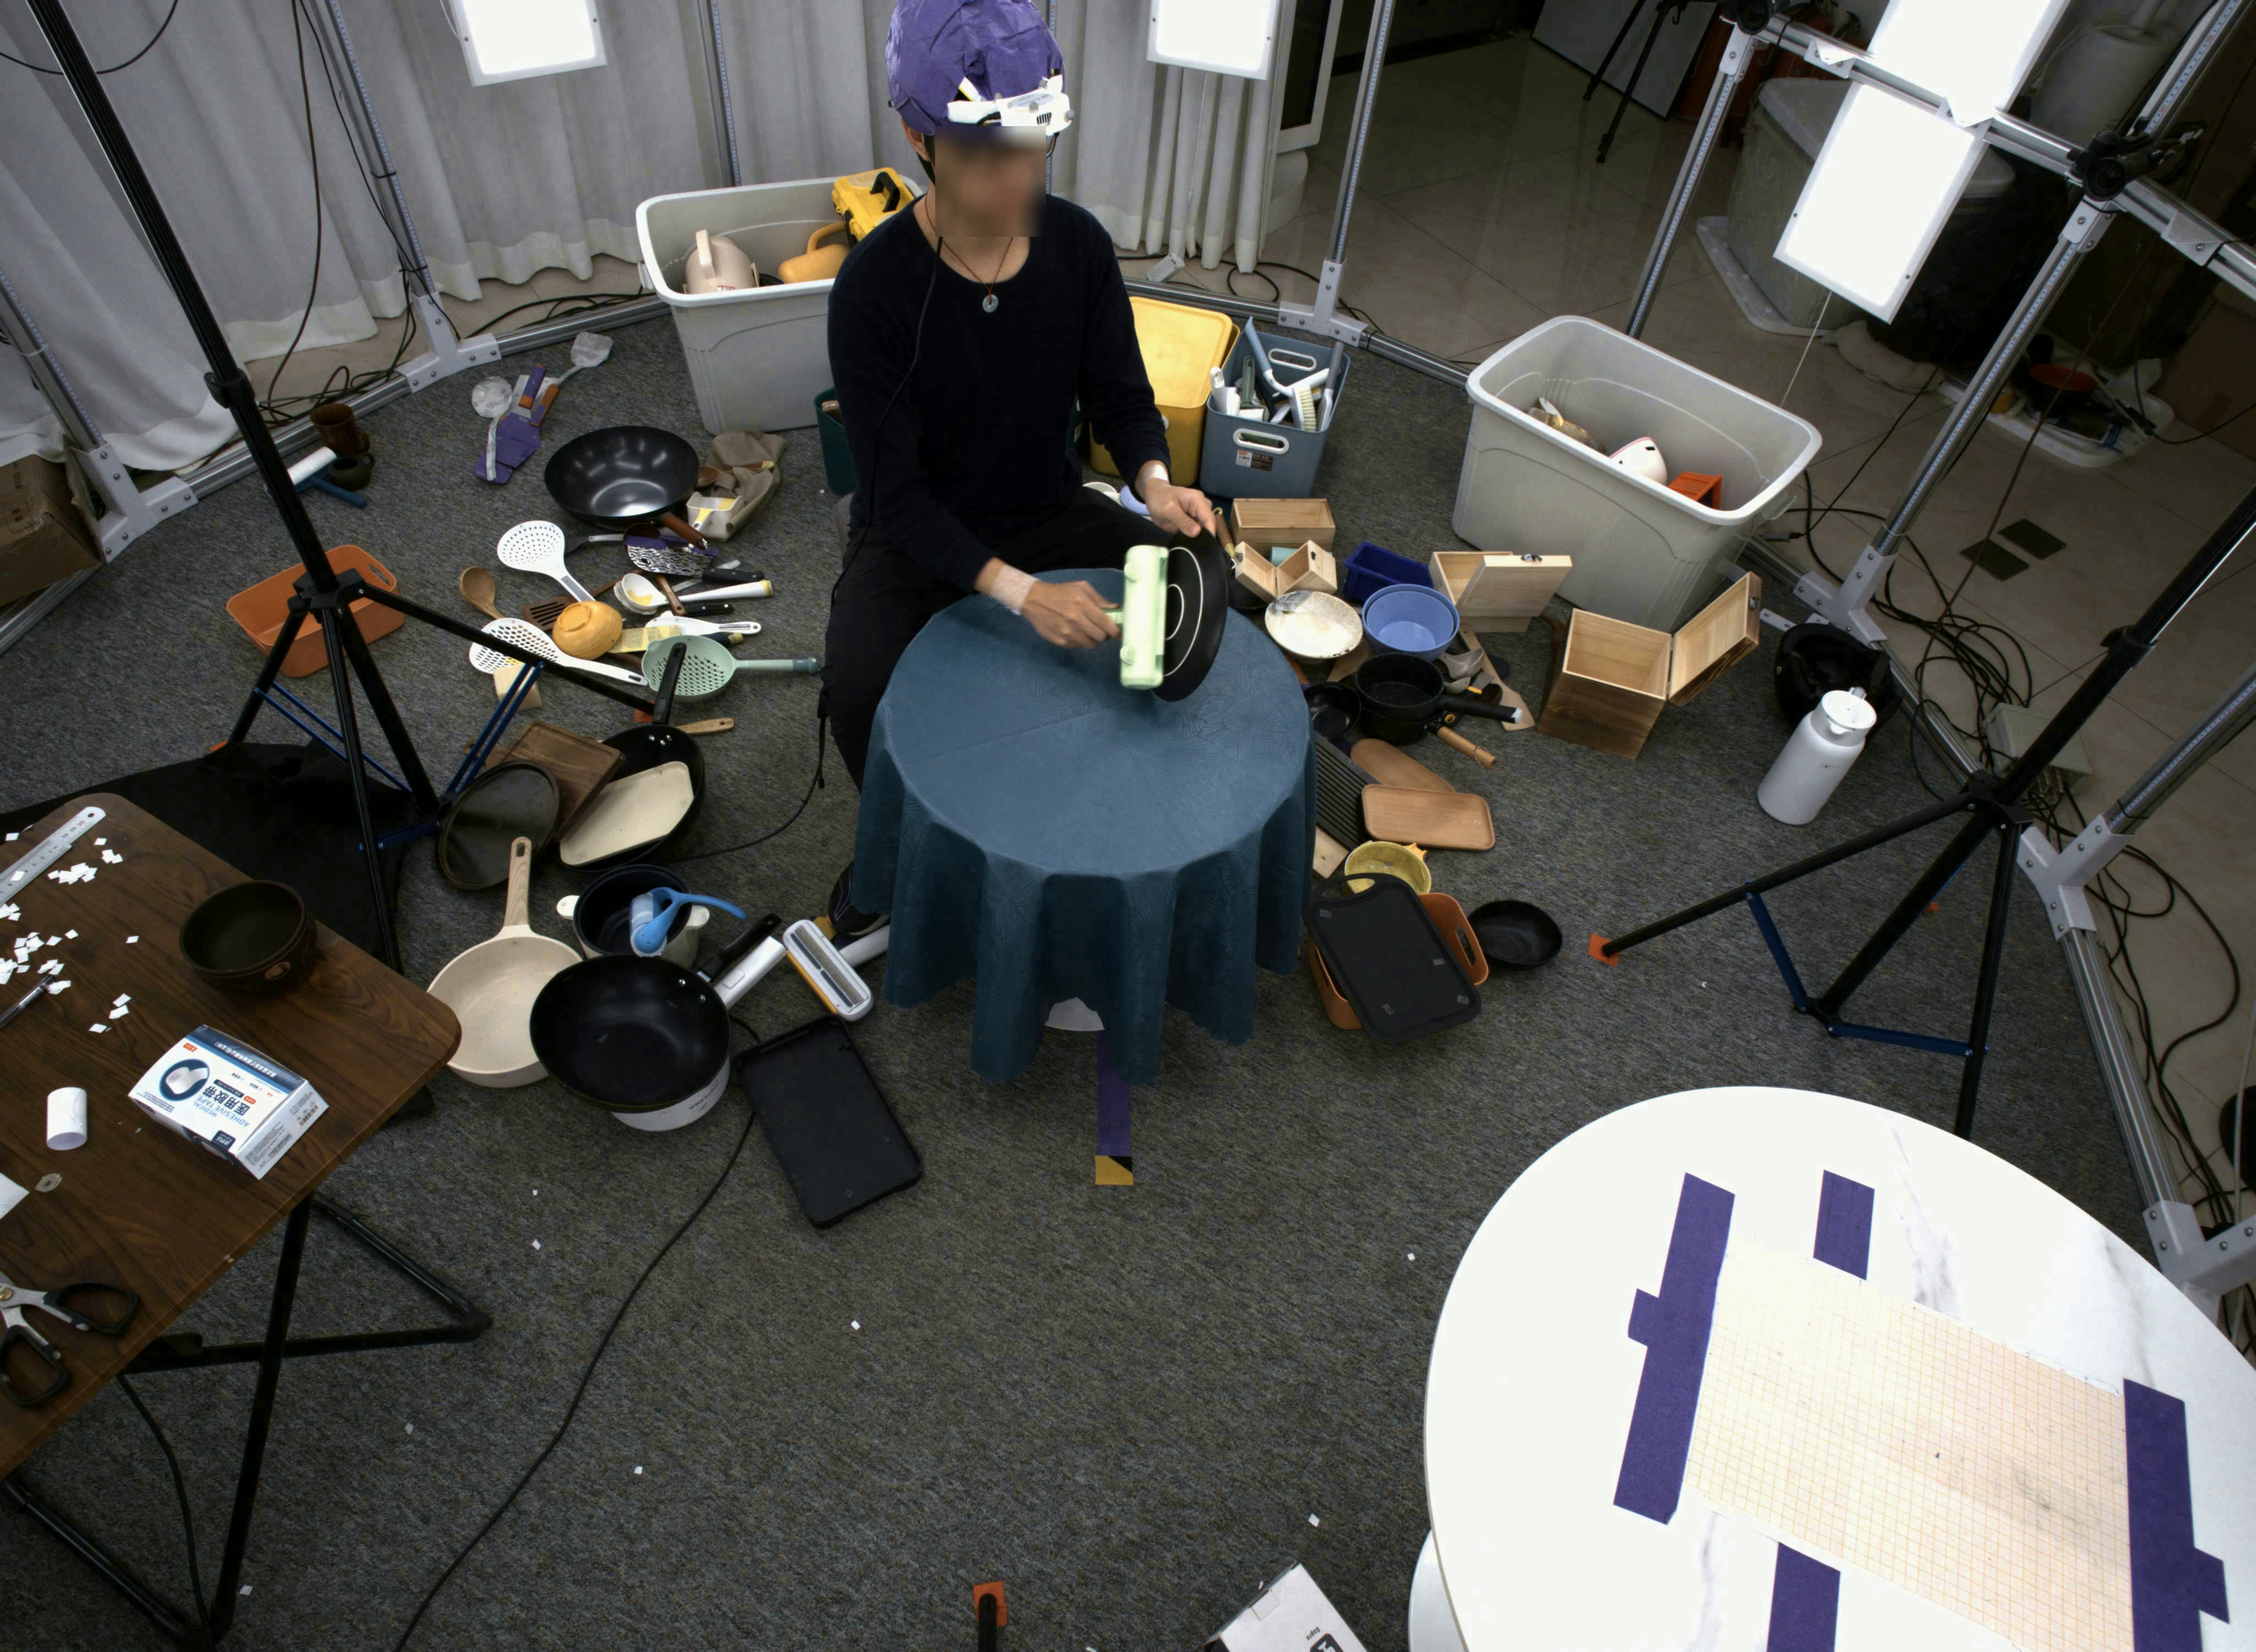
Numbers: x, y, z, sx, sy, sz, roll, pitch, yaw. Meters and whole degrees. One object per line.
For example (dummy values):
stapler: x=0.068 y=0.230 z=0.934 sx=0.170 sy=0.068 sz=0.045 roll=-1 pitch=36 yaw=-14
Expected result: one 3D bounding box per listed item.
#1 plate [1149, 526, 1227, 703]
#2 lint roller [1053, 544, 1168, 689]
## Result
plate: x=0.066 y=-0.293 z=1.775 sx=0.023 sy=0.240 sz=0.250 roll=6 pitch=46 yaw=-27
lint roller: x=-0.032 y=-0.291 z=1.792 sx=0.184 sy=0.081 sz=0.199 roll=1 pitch=85 yaw=20
